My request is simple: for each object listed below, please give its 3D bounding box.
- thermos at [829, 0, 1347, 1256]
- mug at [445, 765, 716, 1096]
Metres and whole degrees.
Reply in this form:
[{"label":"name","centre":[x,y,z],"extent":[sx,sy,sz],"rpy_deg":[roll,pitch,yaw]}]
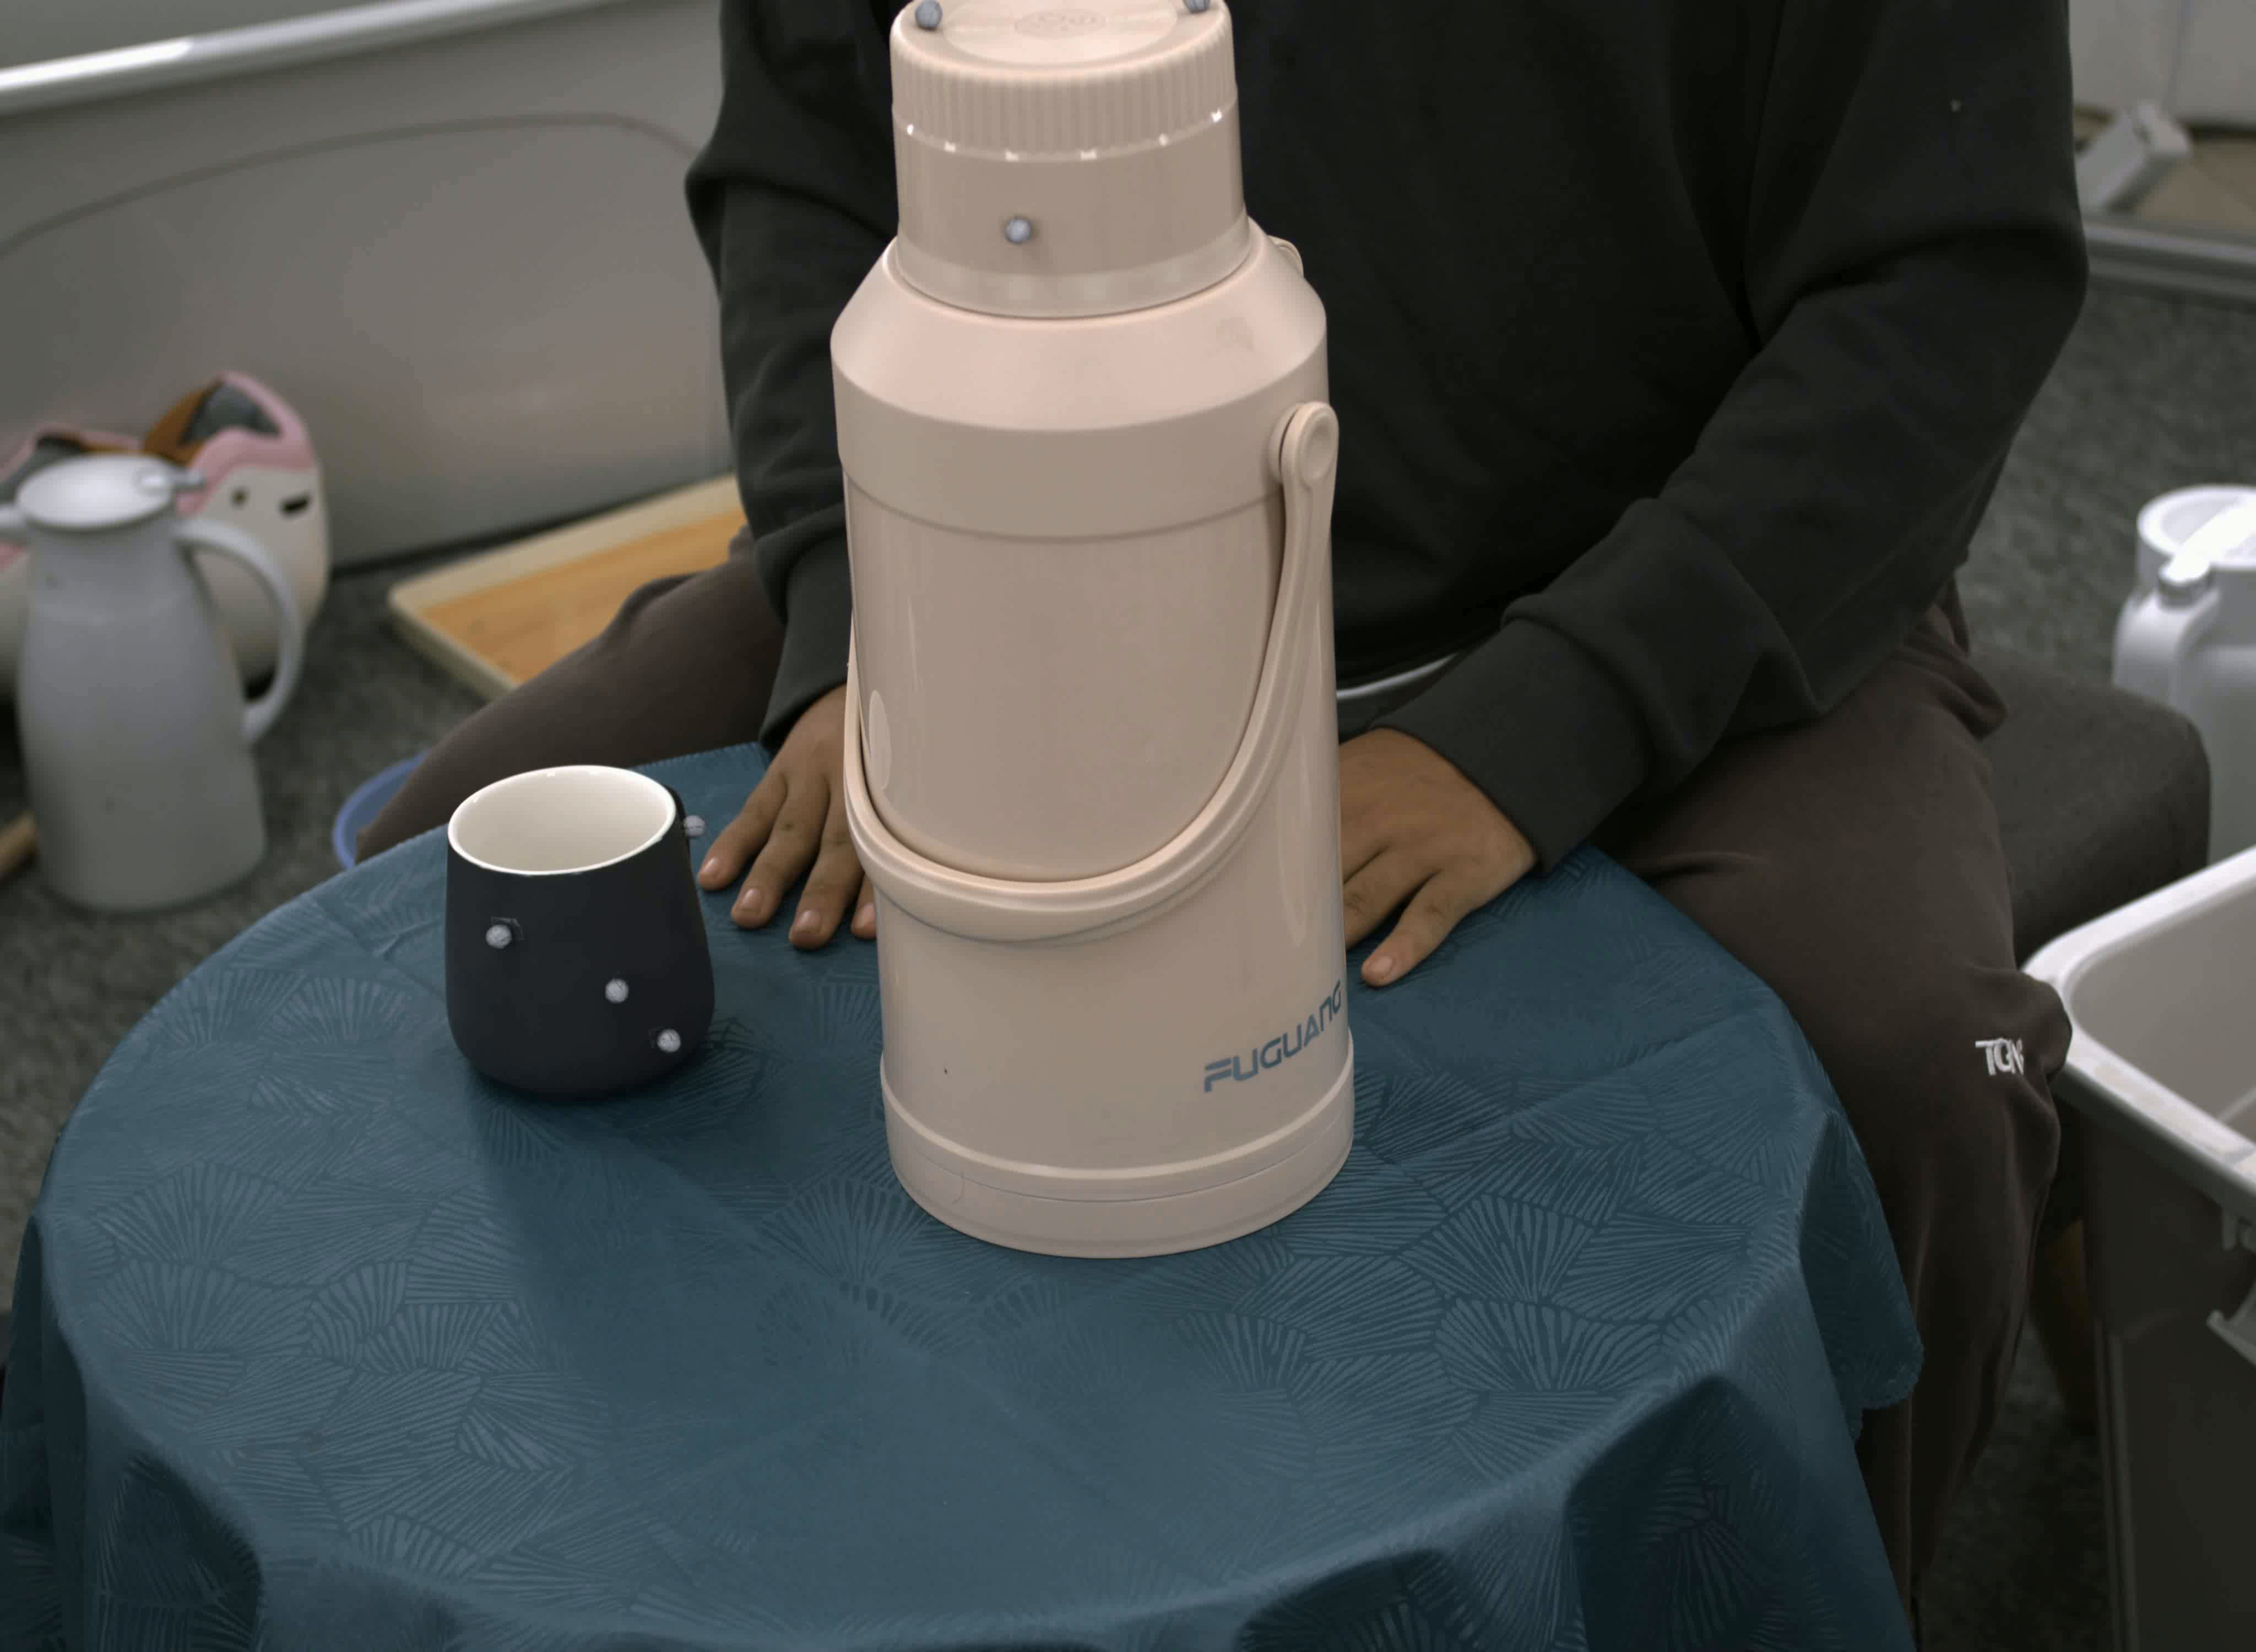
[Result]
[{"label":"thermos","centre":[-0.004,-0.077,1.823],"extent":[0.174,0.402,0.210],"rpy_deg":[13,31,30]},{"label":"mug","centre":[-0.185,0.031,1.959],"extent":[0.093,0.089,0.125],"rpy_deg":[10,30,23]}]
